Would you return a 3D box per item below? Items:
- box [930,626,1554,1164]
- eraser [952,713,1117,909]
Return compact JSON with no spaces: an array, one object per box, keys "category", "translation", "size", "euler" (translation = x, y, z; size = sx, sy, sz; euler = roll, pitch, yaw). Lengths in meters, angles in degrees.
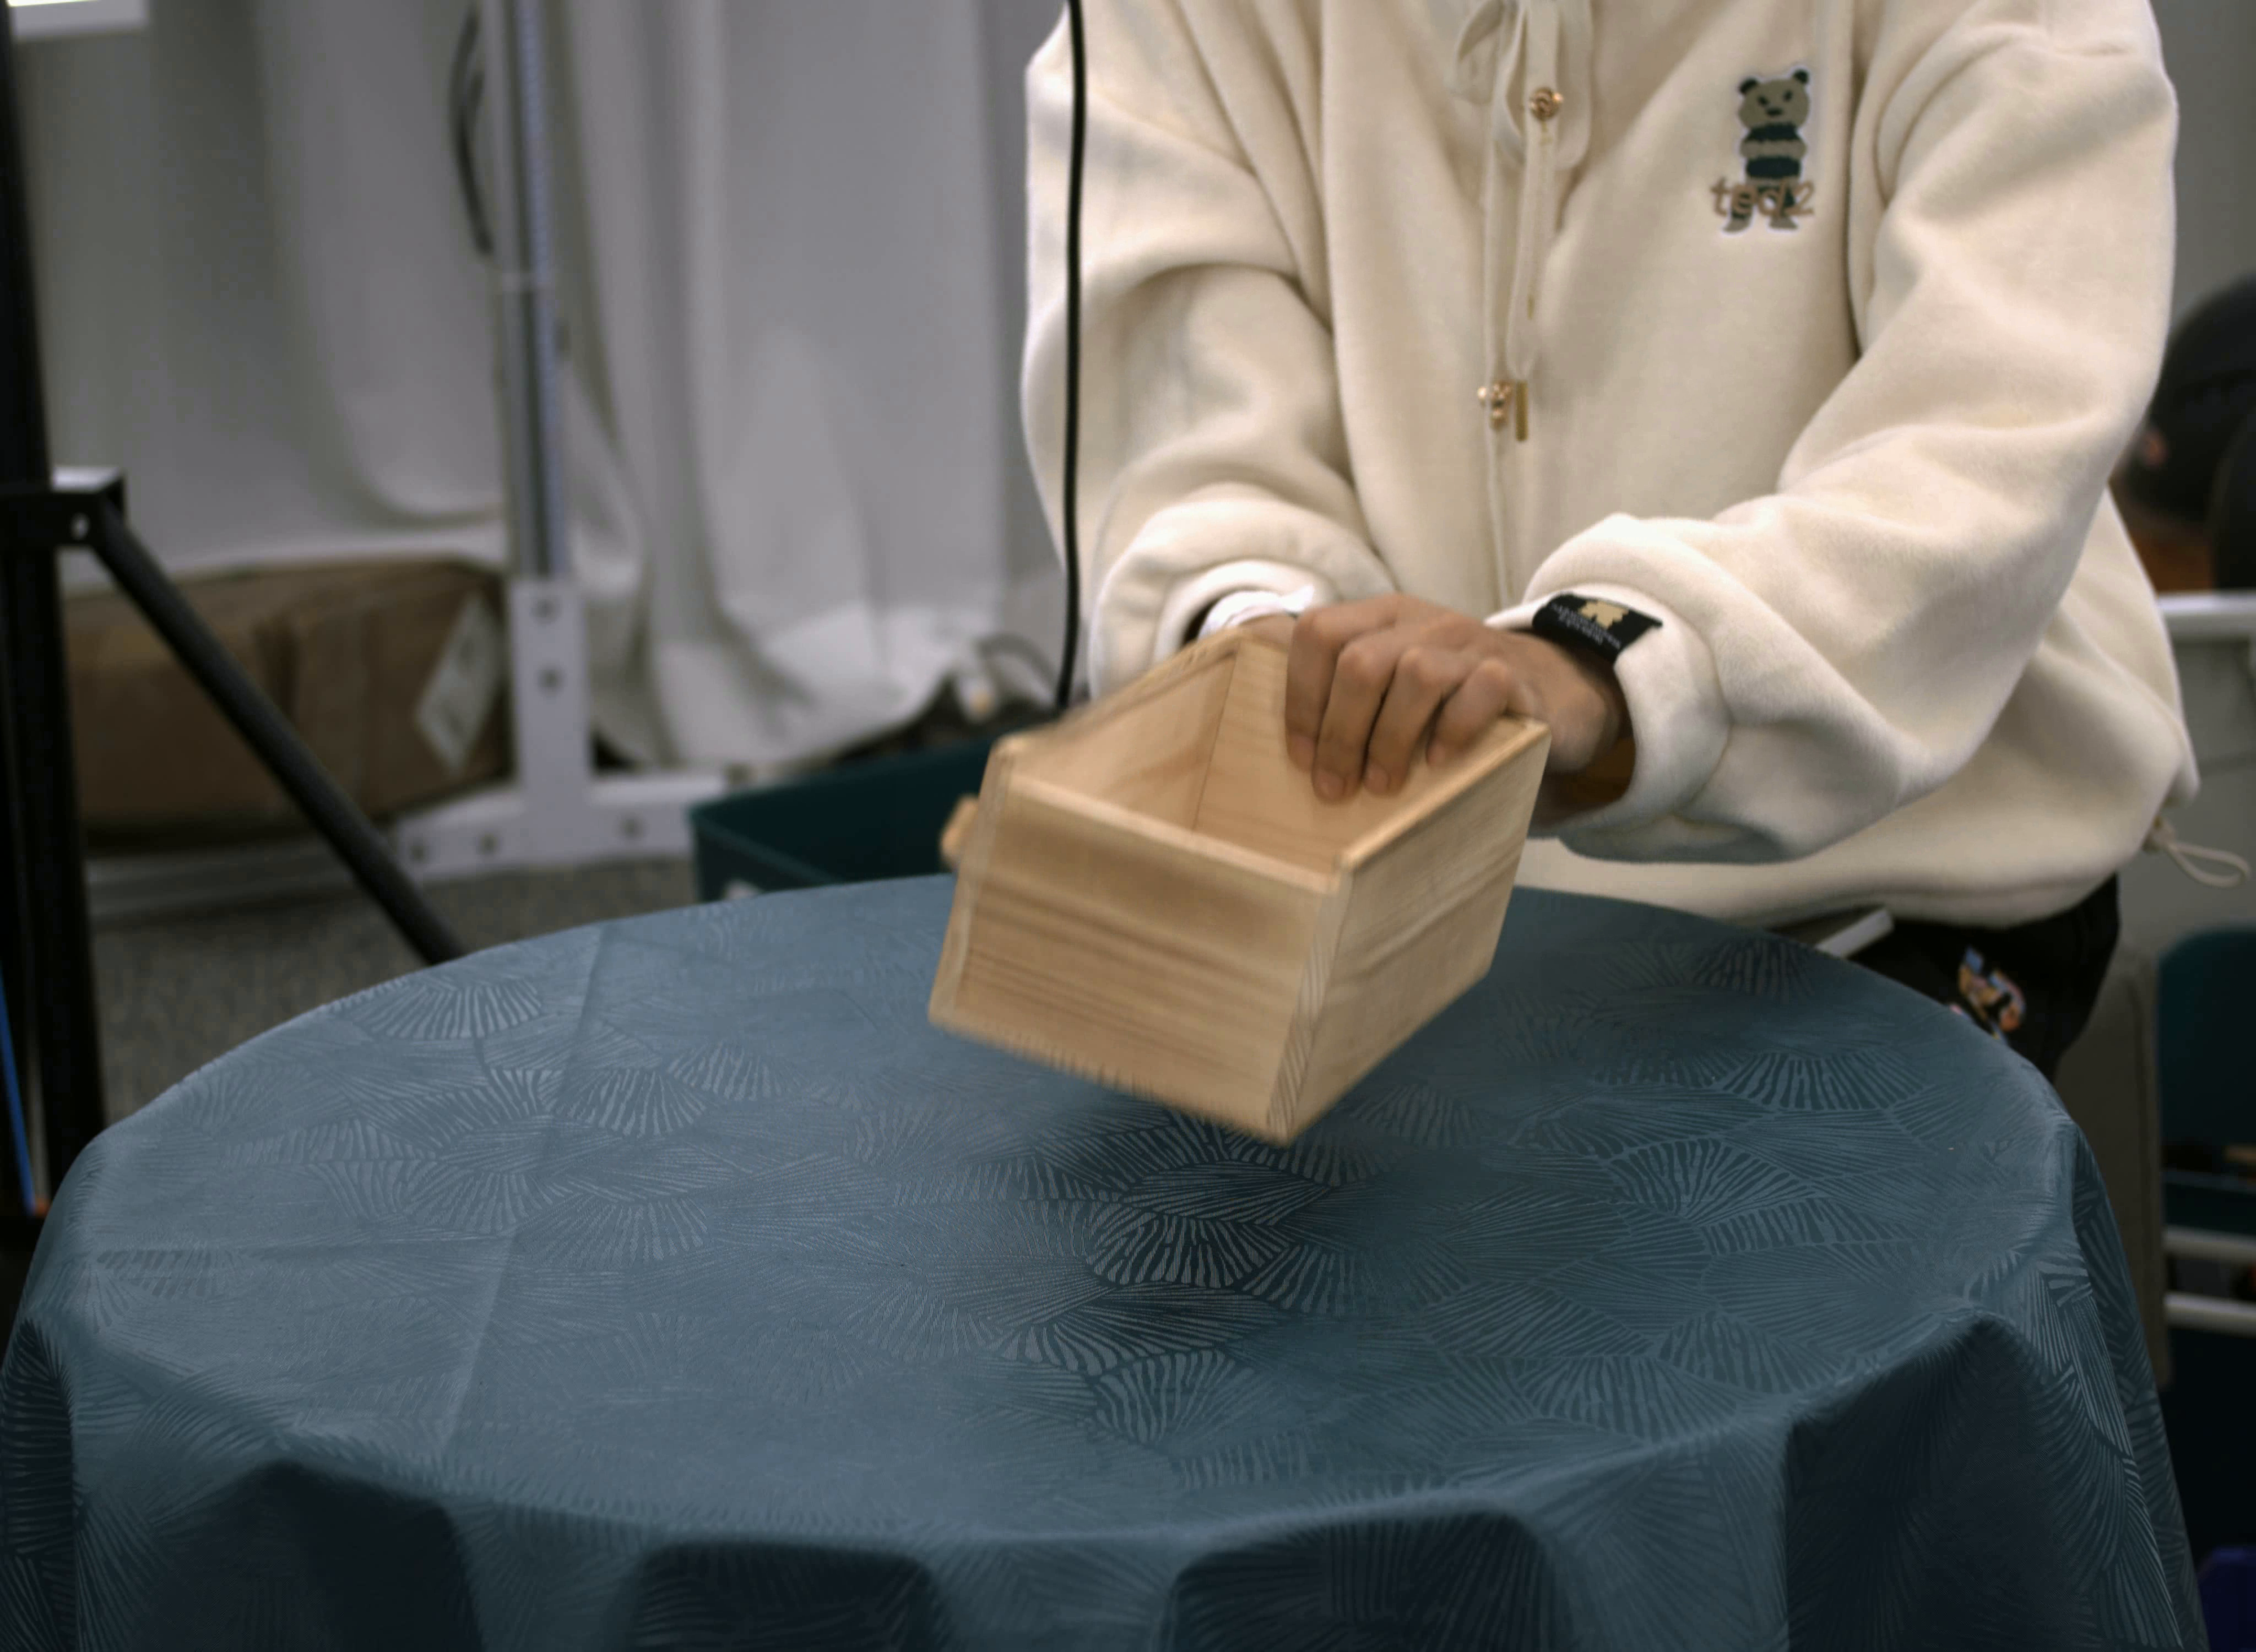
[{"category":"box","translation":[0.036,0.015,1.498],"size":[0.108,0.080,0.209],"euler":[18,17,14]},{"category":"eraser","translation":[0.001,-0.003,1.642],"size":[0.047,0.050,0.132],"euler":[28,23,17]}]
